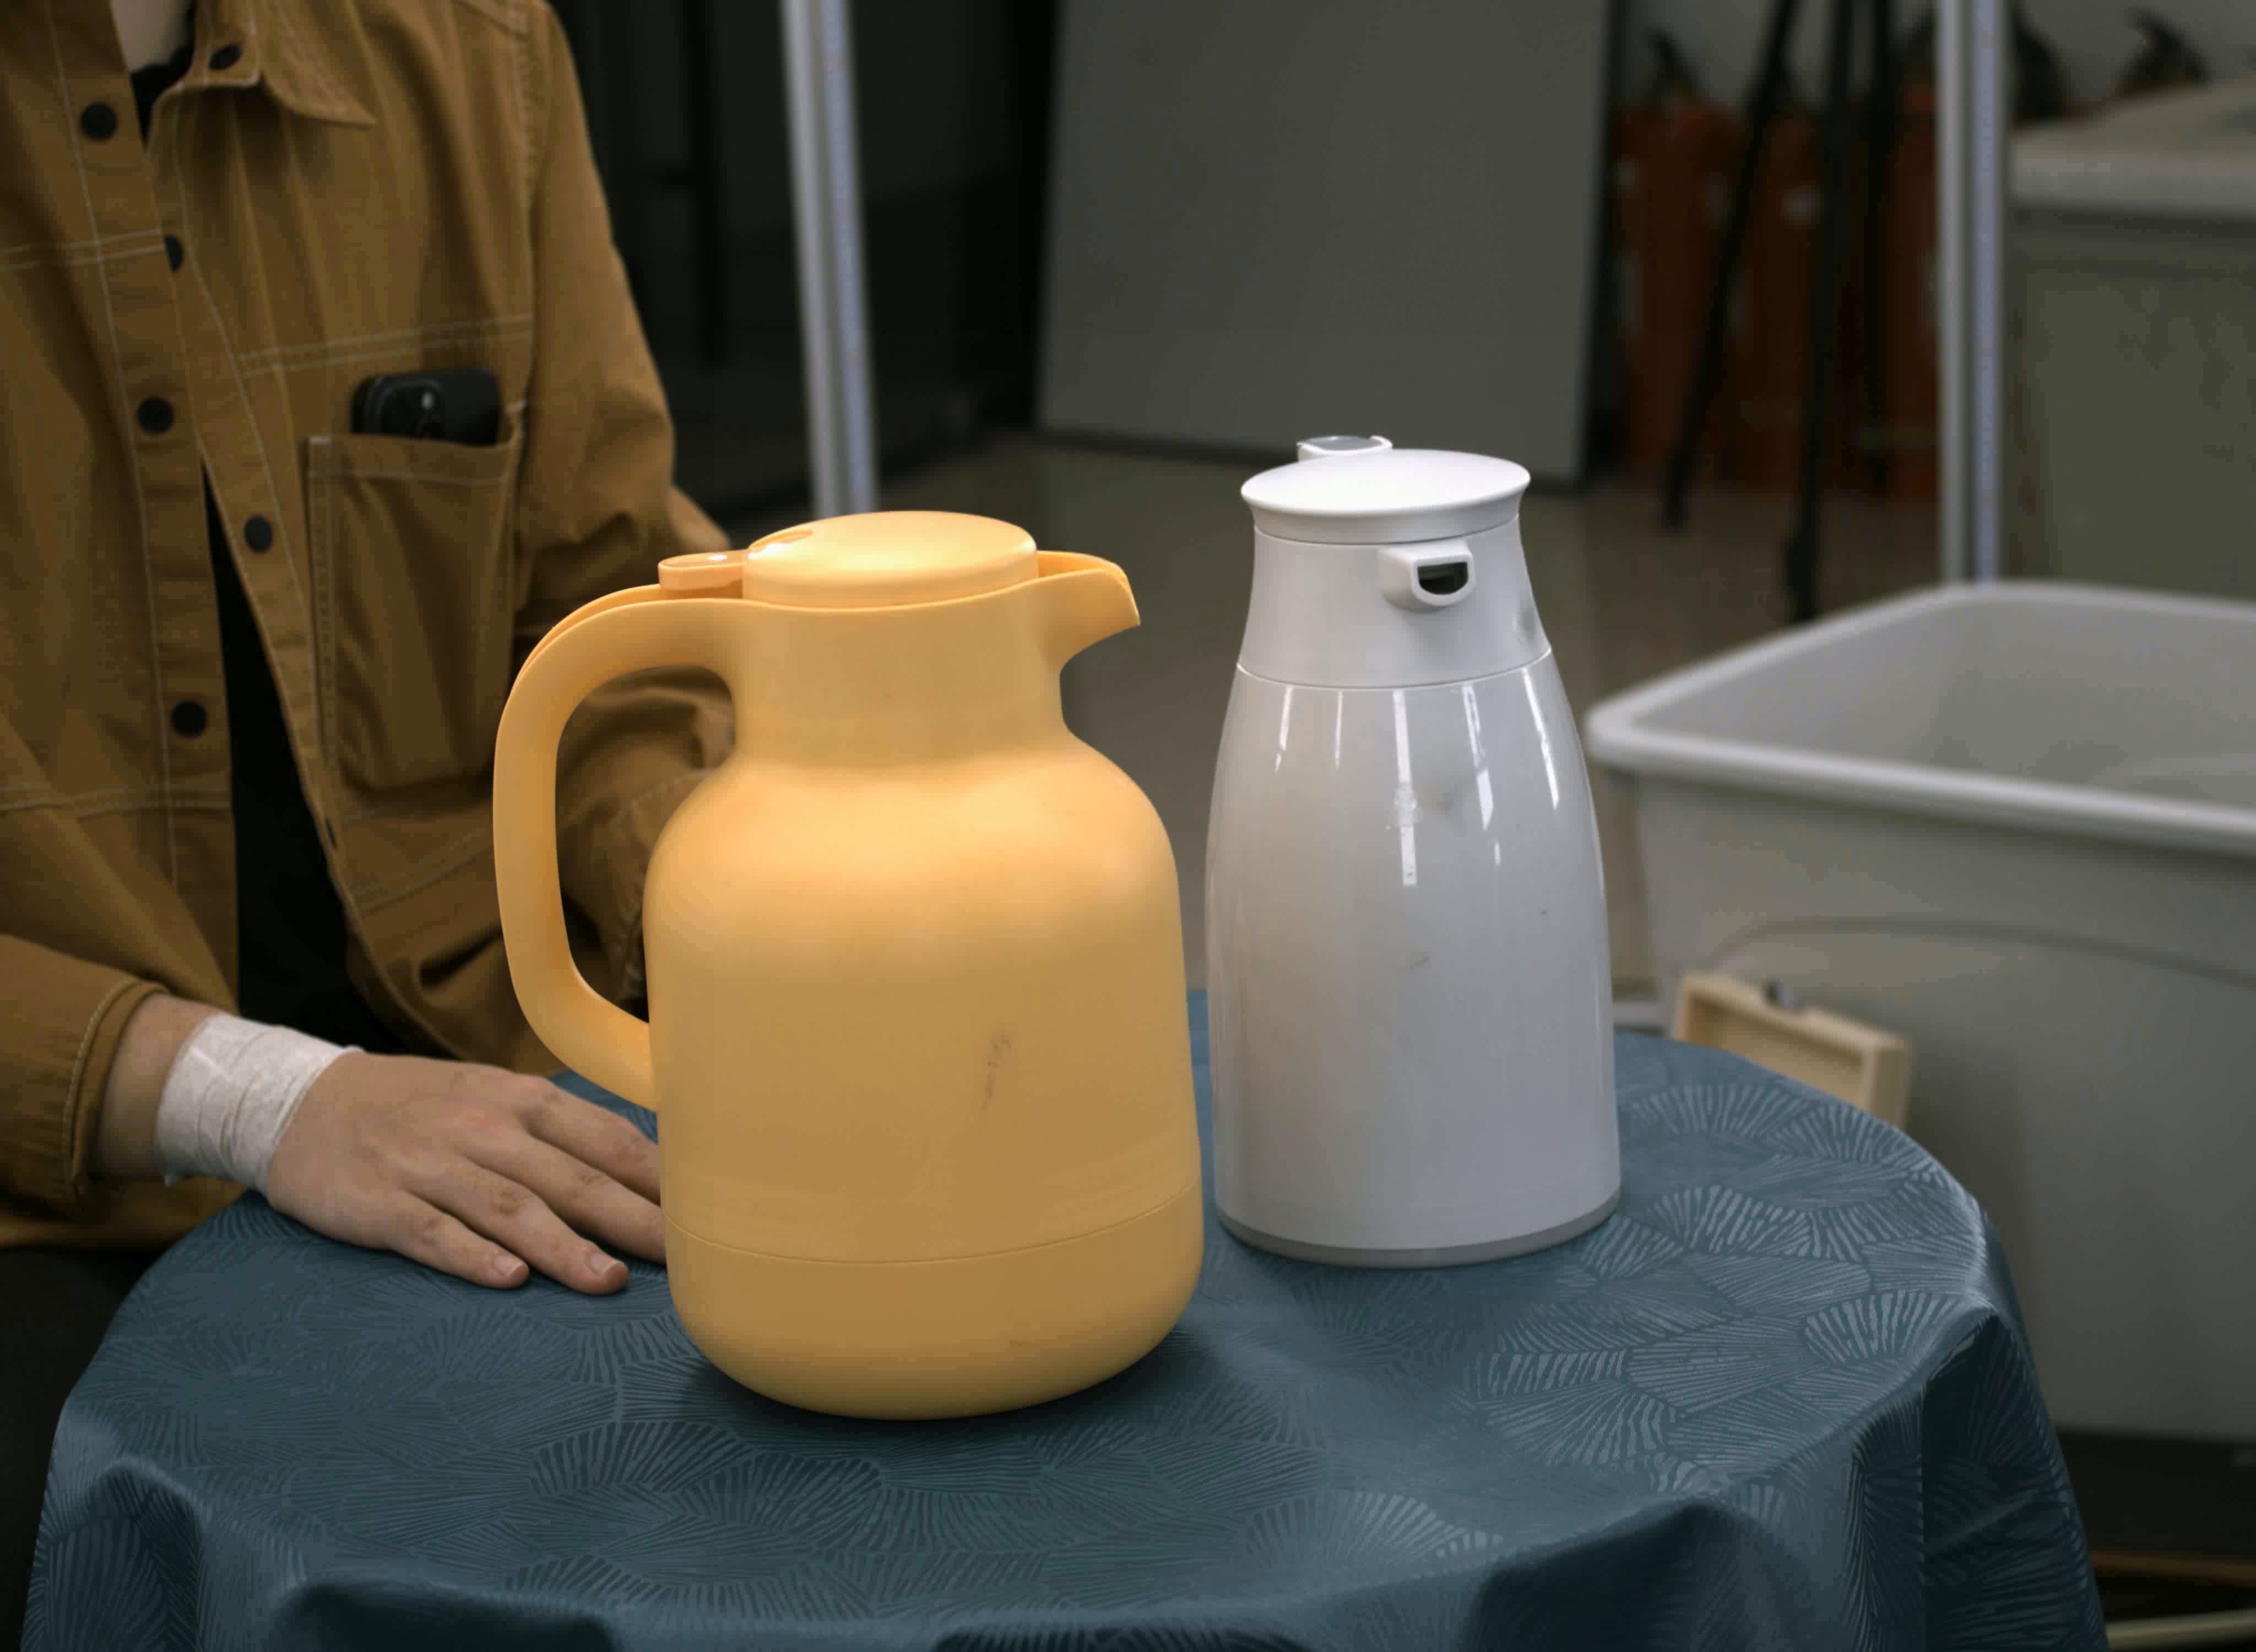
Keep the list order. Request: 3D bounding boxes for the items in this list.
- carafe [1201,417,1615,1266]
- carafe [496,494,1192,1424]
[{"bbox_3d":[0.080,-0.003,1.729,0.130,0.251,0.169,-7,13,-12],"label":"carafe"},{"bbox_3d":[-0.084,0.036,1.601,0.200,0.263,0.163,-2,11,2],"label":"carafe"}]
